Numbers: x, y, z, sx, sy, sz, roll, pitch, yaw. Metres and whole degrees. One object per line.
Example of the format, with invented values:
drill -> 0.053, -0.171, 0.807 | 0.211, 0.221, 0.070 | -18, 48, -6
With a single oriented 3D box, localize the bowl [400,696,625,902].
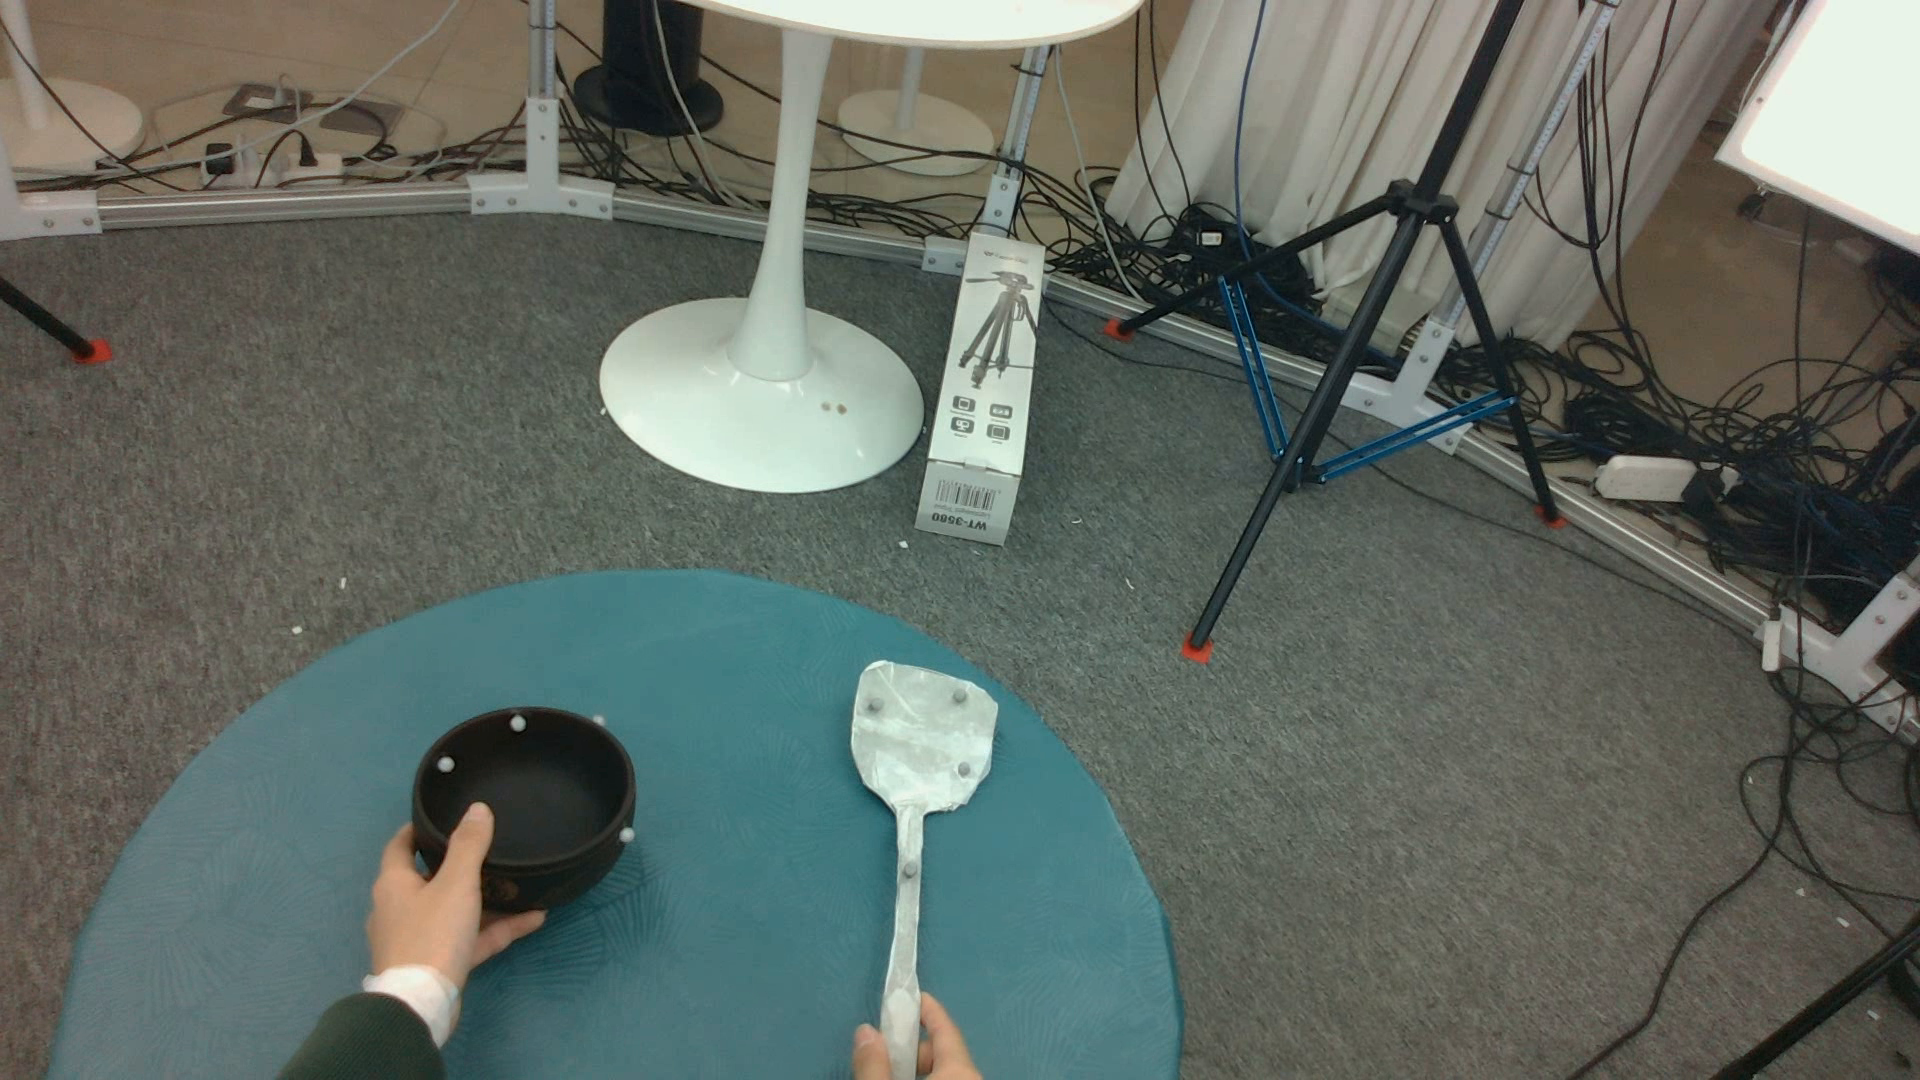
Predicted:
bowl -> -0.249, 0.152, 0.770 | 0.118, 0.069, 0.118 | 8, 38, -6

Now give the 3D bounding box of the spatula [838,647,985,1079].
spatula -> -0.039, 0.201, 0.797 | 0.099, 0.044, 0.366 | 19, 34, -11
